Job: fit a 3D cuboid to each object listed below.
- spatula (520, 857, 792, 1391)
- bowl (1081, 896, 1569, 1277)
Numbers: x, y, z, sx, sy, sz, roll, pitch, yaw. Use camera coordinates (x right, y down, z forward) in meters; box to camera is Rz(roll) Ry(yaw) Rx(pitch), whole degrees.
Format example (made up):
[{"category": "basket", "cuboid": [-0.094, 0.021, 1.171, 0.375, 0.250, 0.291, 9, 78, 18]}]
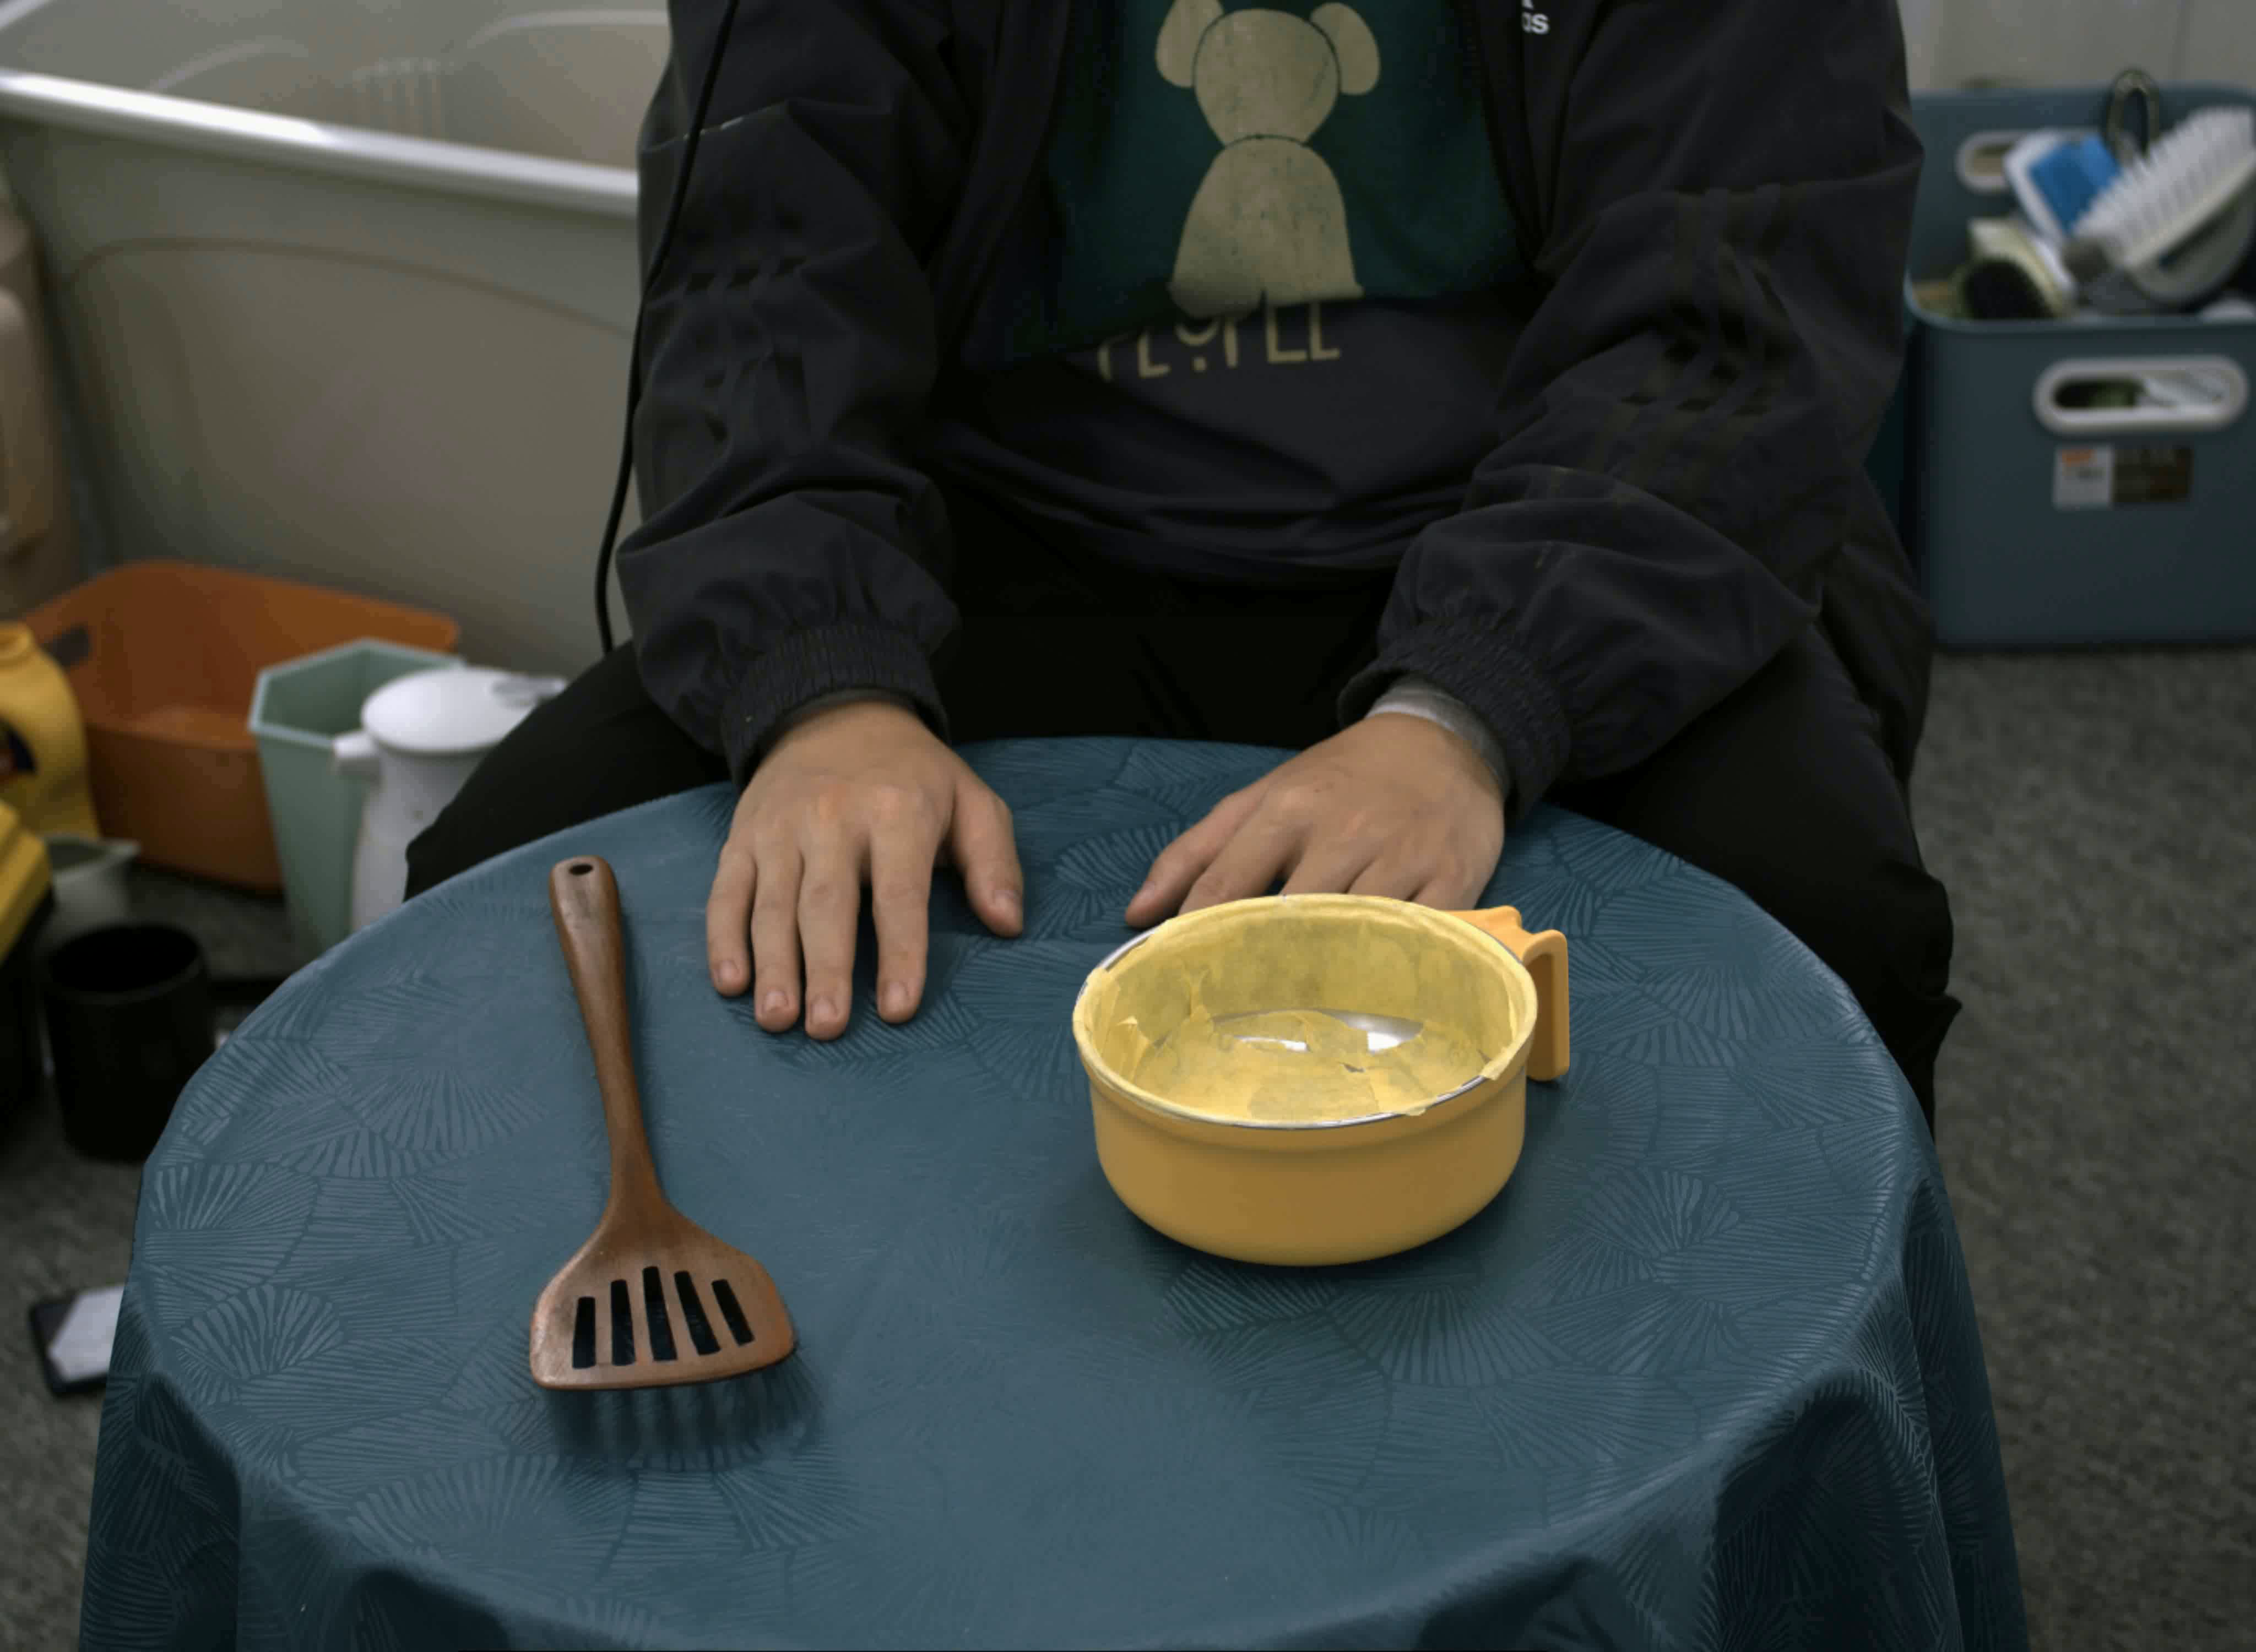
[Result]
[{"category": "spatula", "cuboid": [-0.168, 0.099, 1.898, 0.085, 0.024, 0.391, -5, 26, -6]}, {"category": "bowl", "cuboid": [0.072, 0.085, 1.854, 0.181, 0.073, 0.153, -25, 34, -36]}]
